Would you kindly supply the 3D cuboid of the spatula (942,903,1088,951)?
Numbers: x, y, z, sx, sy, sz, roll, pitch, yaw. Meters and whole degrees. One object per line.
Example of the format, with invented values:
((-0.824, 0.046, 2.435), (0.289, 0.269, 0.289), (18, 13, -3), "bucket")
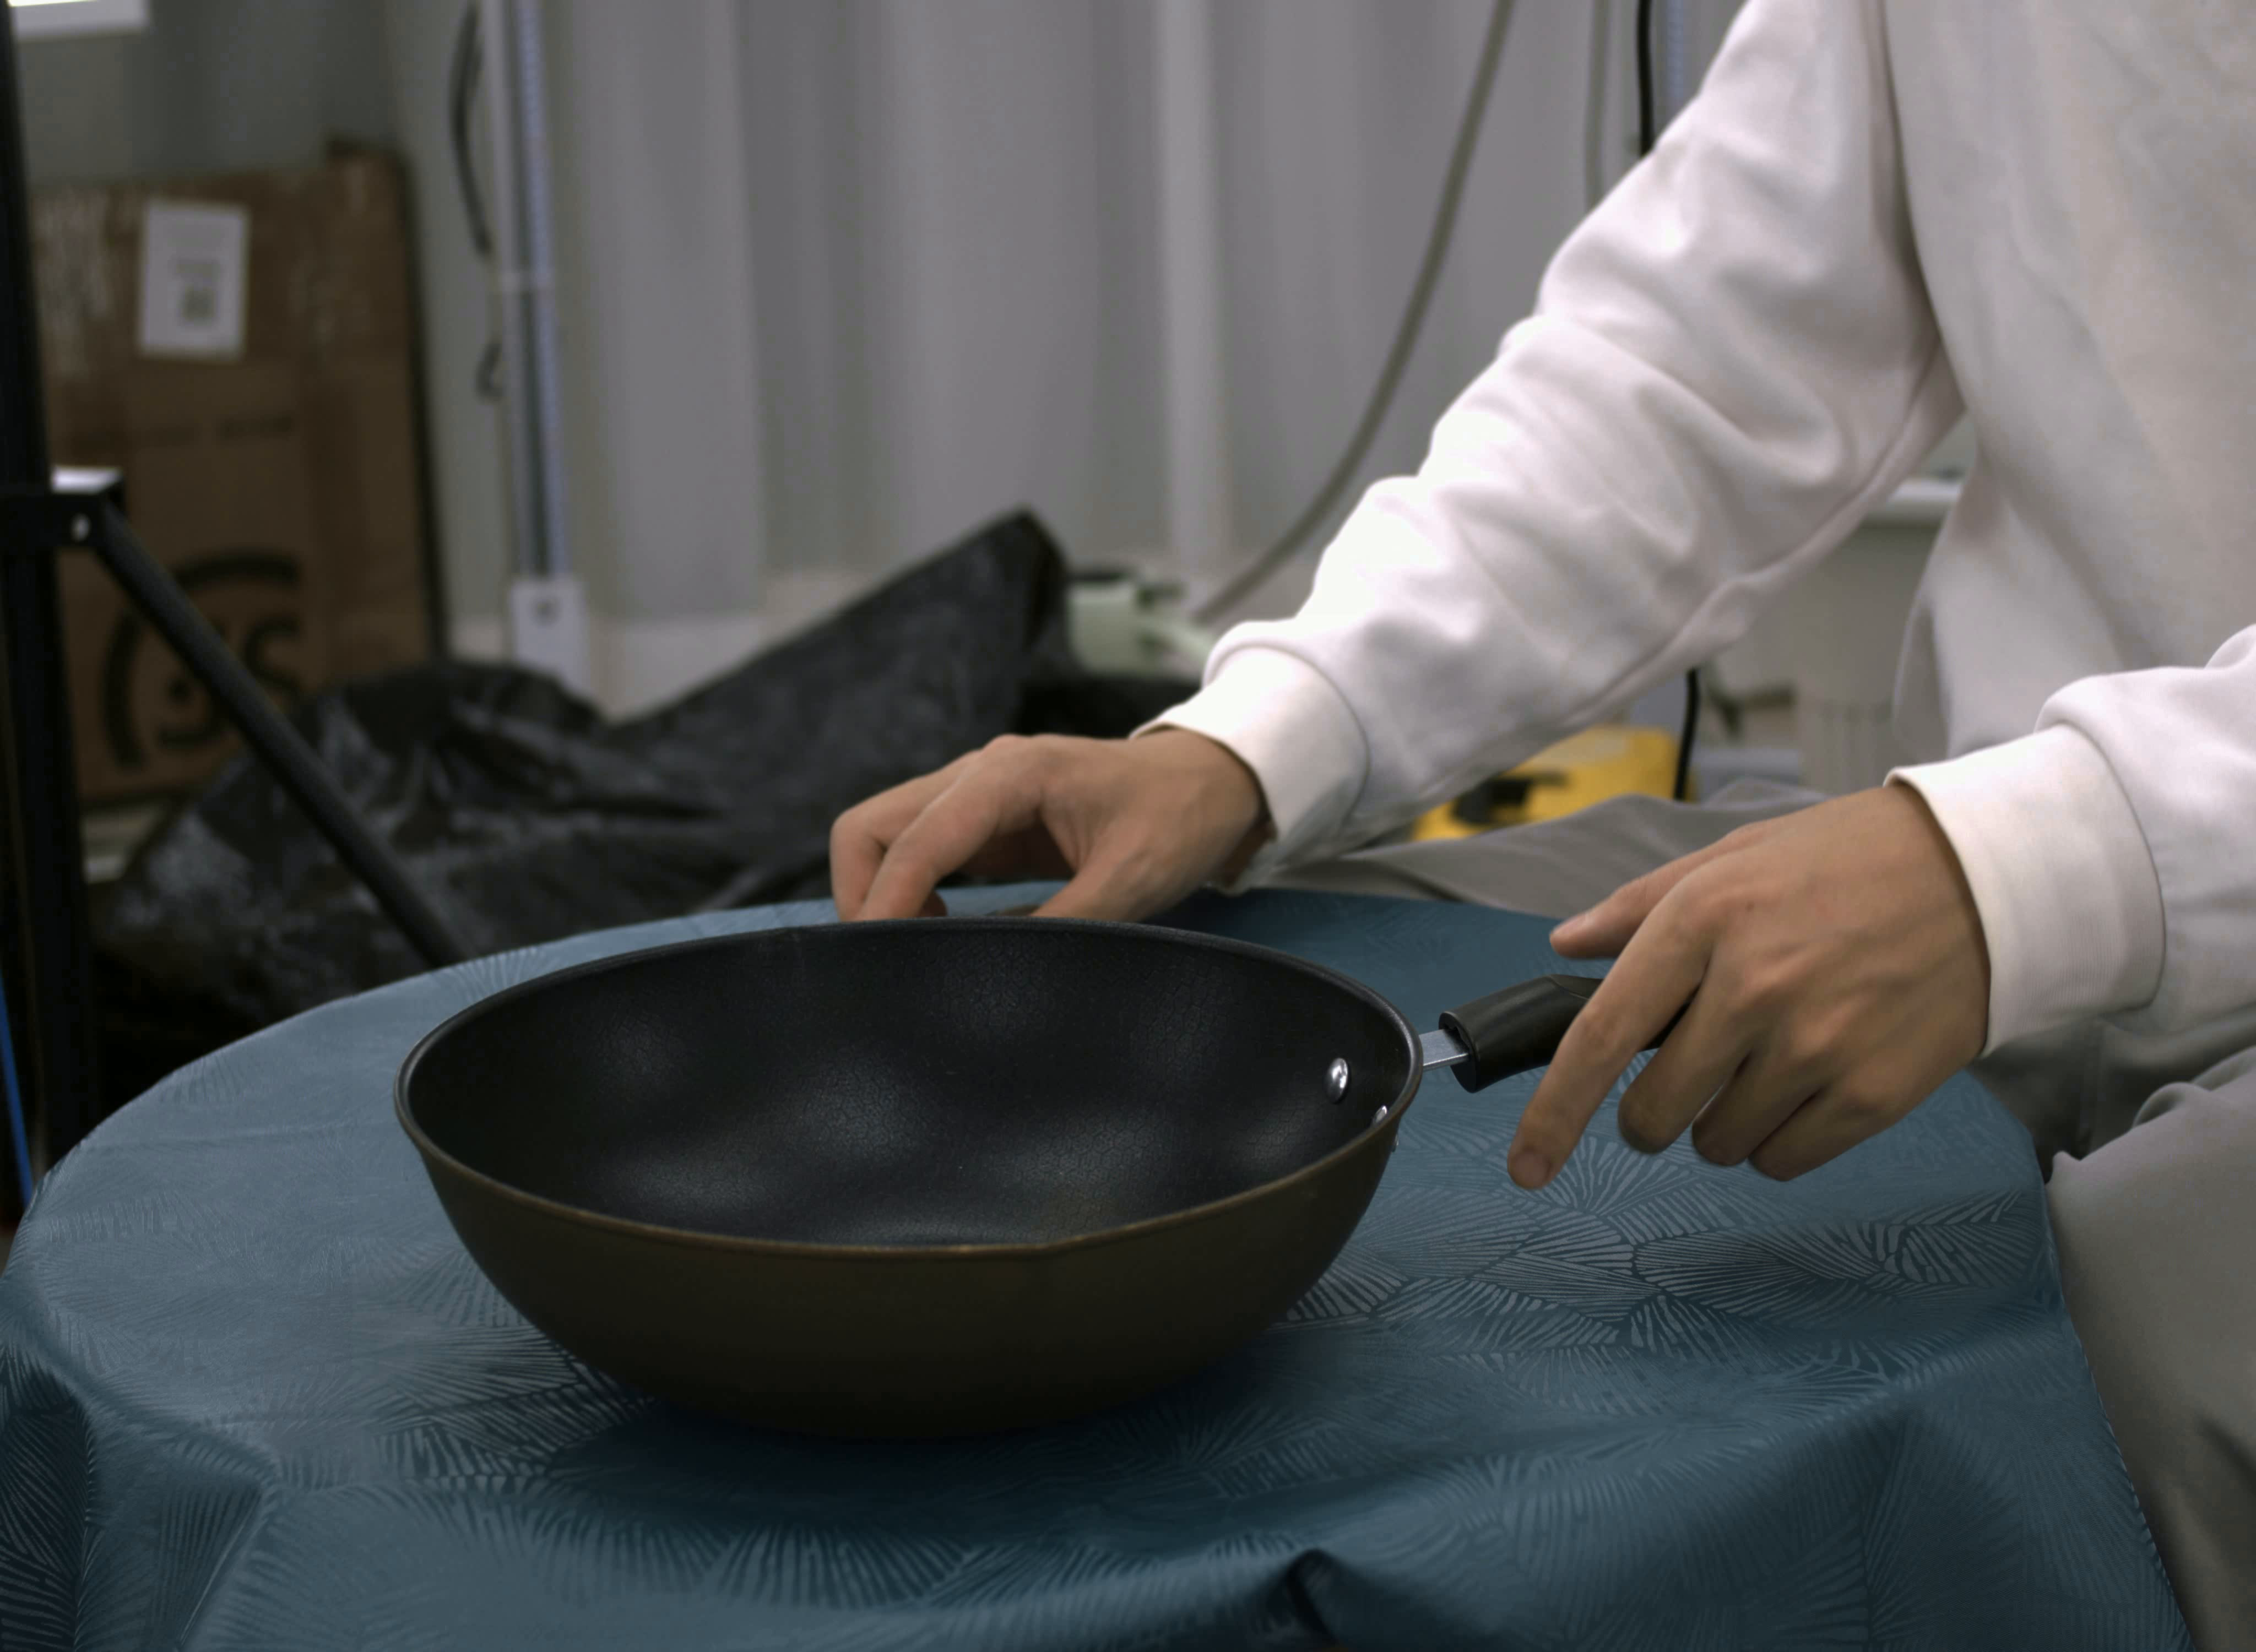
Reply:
((-0.089, 0.067, 1.704), (0.073, 0.010, 0.288), (5, 17, 27), "spatula")

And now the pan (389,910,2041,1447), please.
((0.029, 0.093, 1.459), (0.457, 0.087, 0.292), (-5, 16, -12), "pan")
